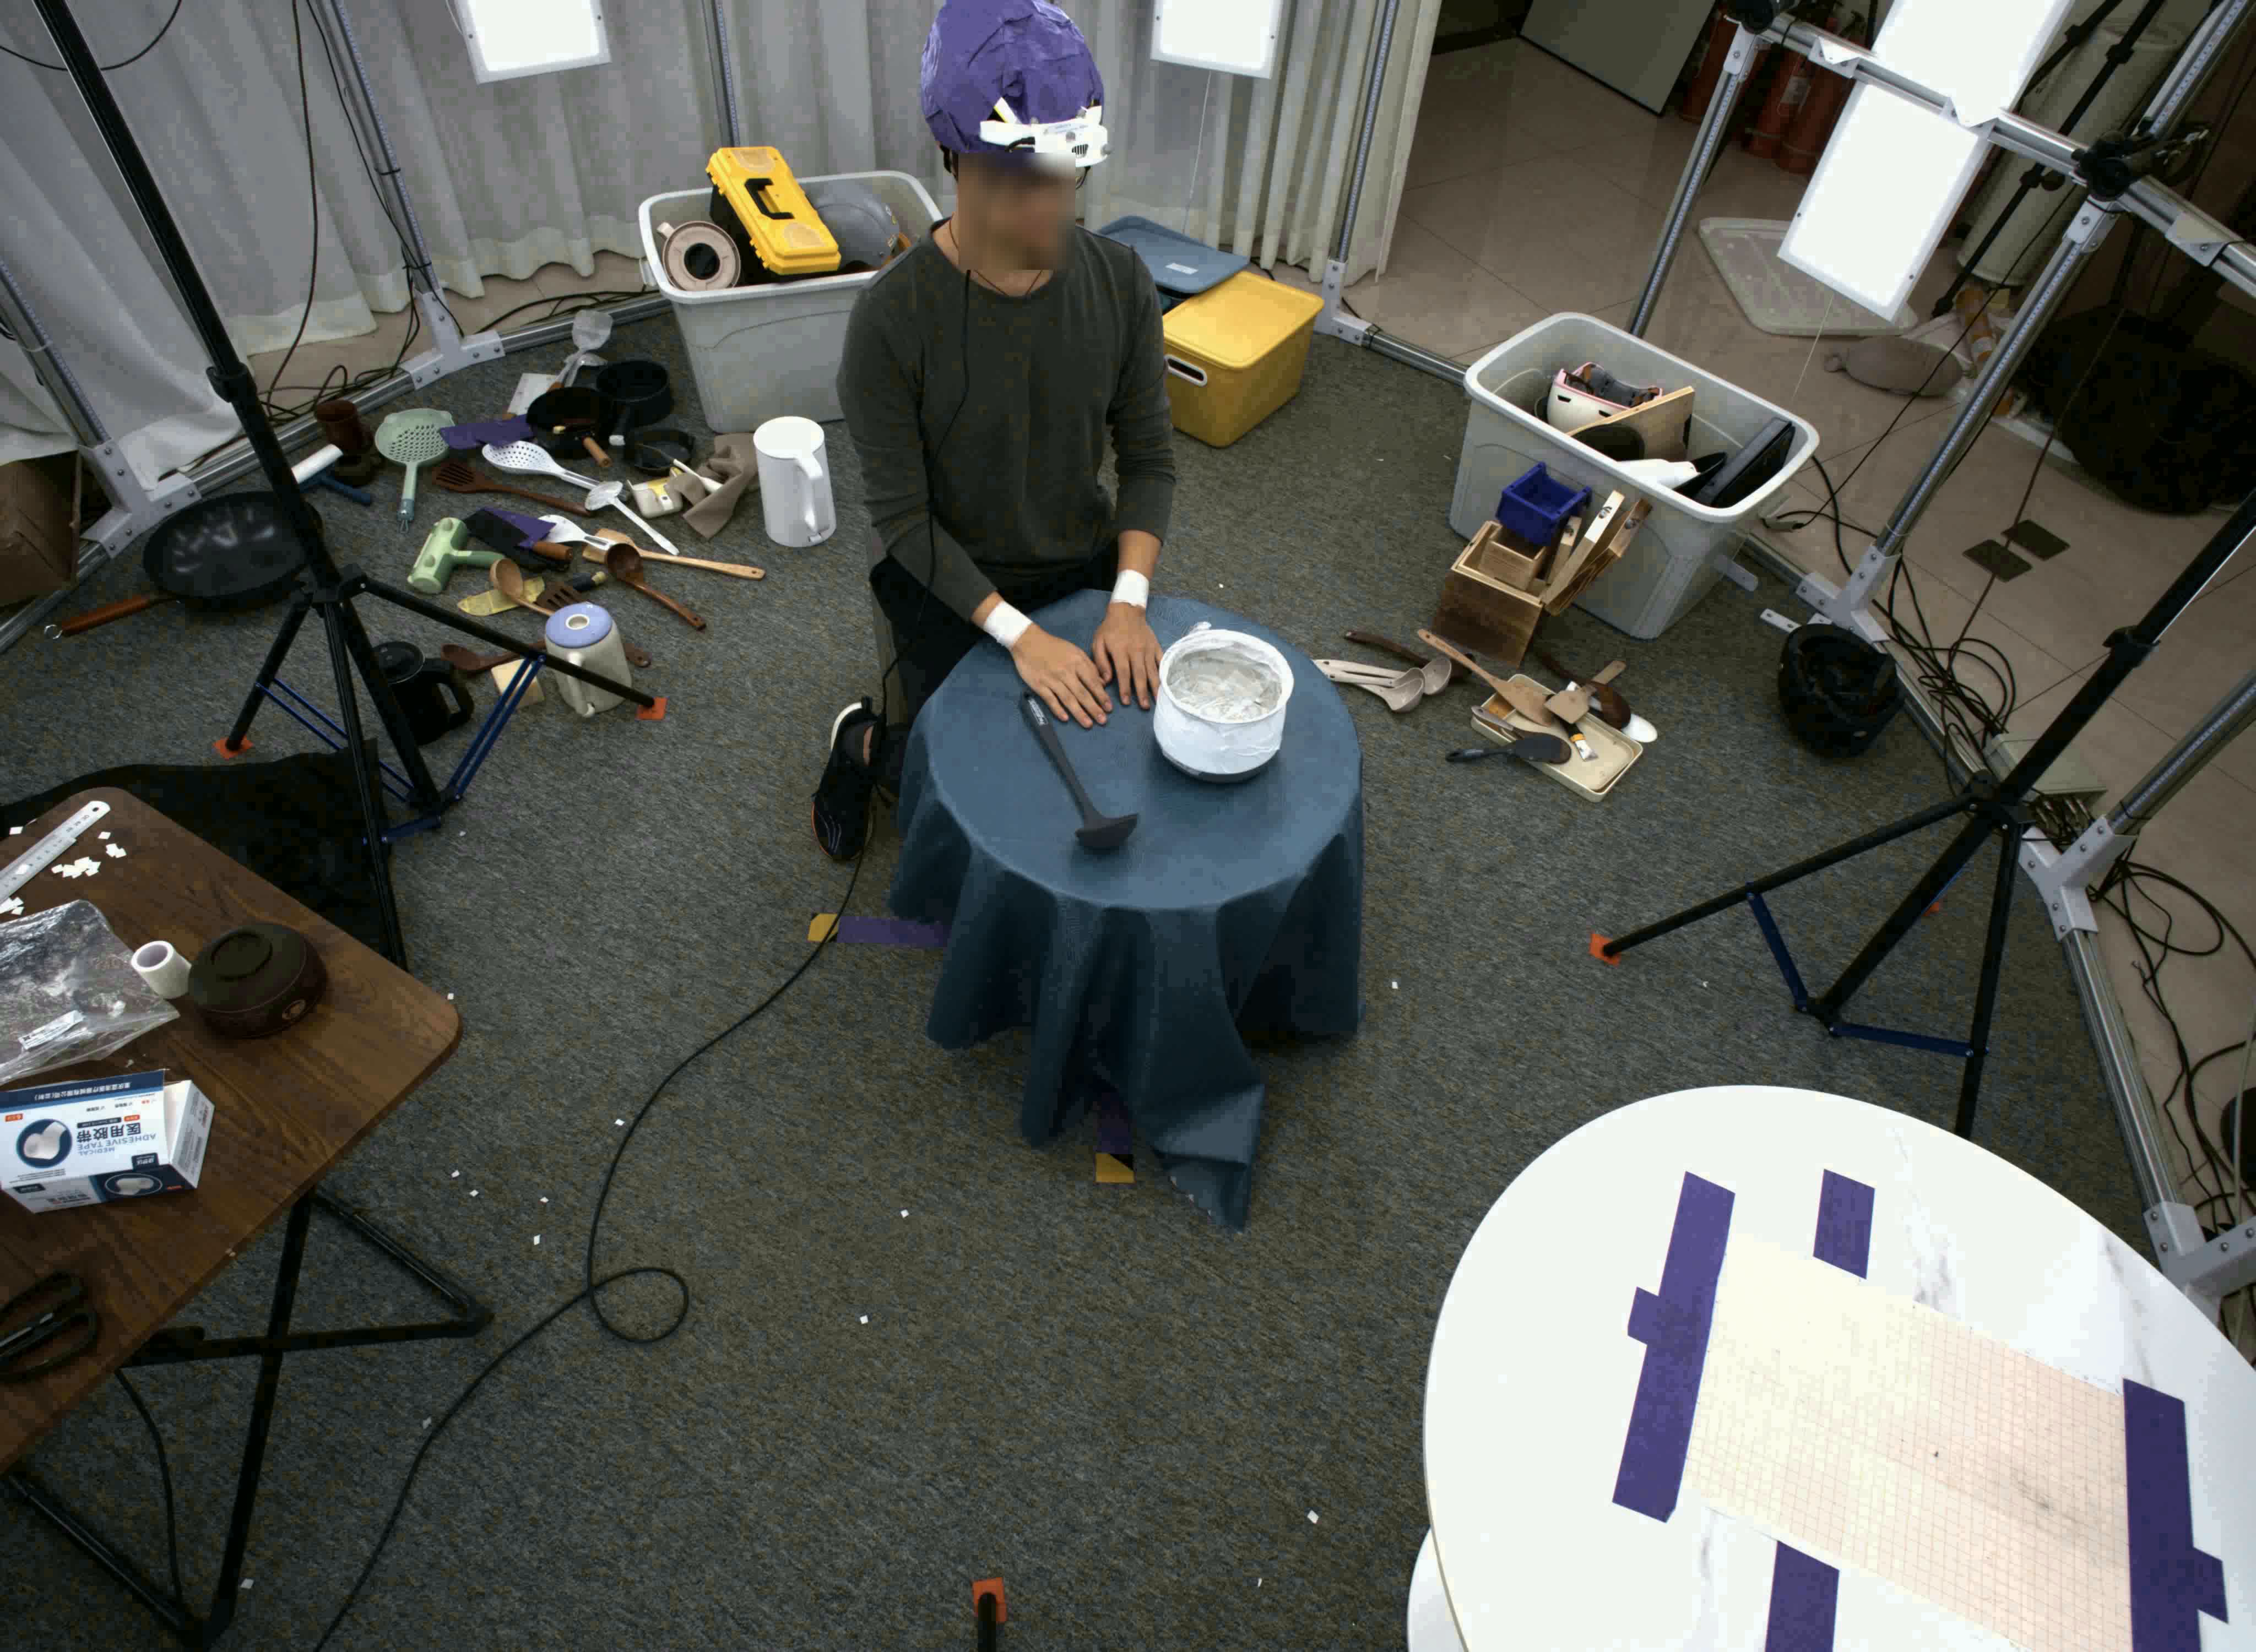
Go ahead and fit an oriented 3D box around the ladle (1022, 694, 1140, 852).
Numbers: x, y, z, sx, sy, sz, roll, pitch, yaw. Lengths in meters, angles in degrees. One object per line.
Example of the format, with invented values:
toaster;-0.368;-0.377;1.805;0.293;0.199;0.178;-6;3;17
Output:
ladle;-0.079;-0.086;1.696;0.086;0.062;0.321;-13;51;-21

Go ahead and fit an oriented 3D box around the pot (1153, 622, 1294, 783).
pot;0.117;-0.177;1.741;0.178;0.133;0.239;-10;50;-12
